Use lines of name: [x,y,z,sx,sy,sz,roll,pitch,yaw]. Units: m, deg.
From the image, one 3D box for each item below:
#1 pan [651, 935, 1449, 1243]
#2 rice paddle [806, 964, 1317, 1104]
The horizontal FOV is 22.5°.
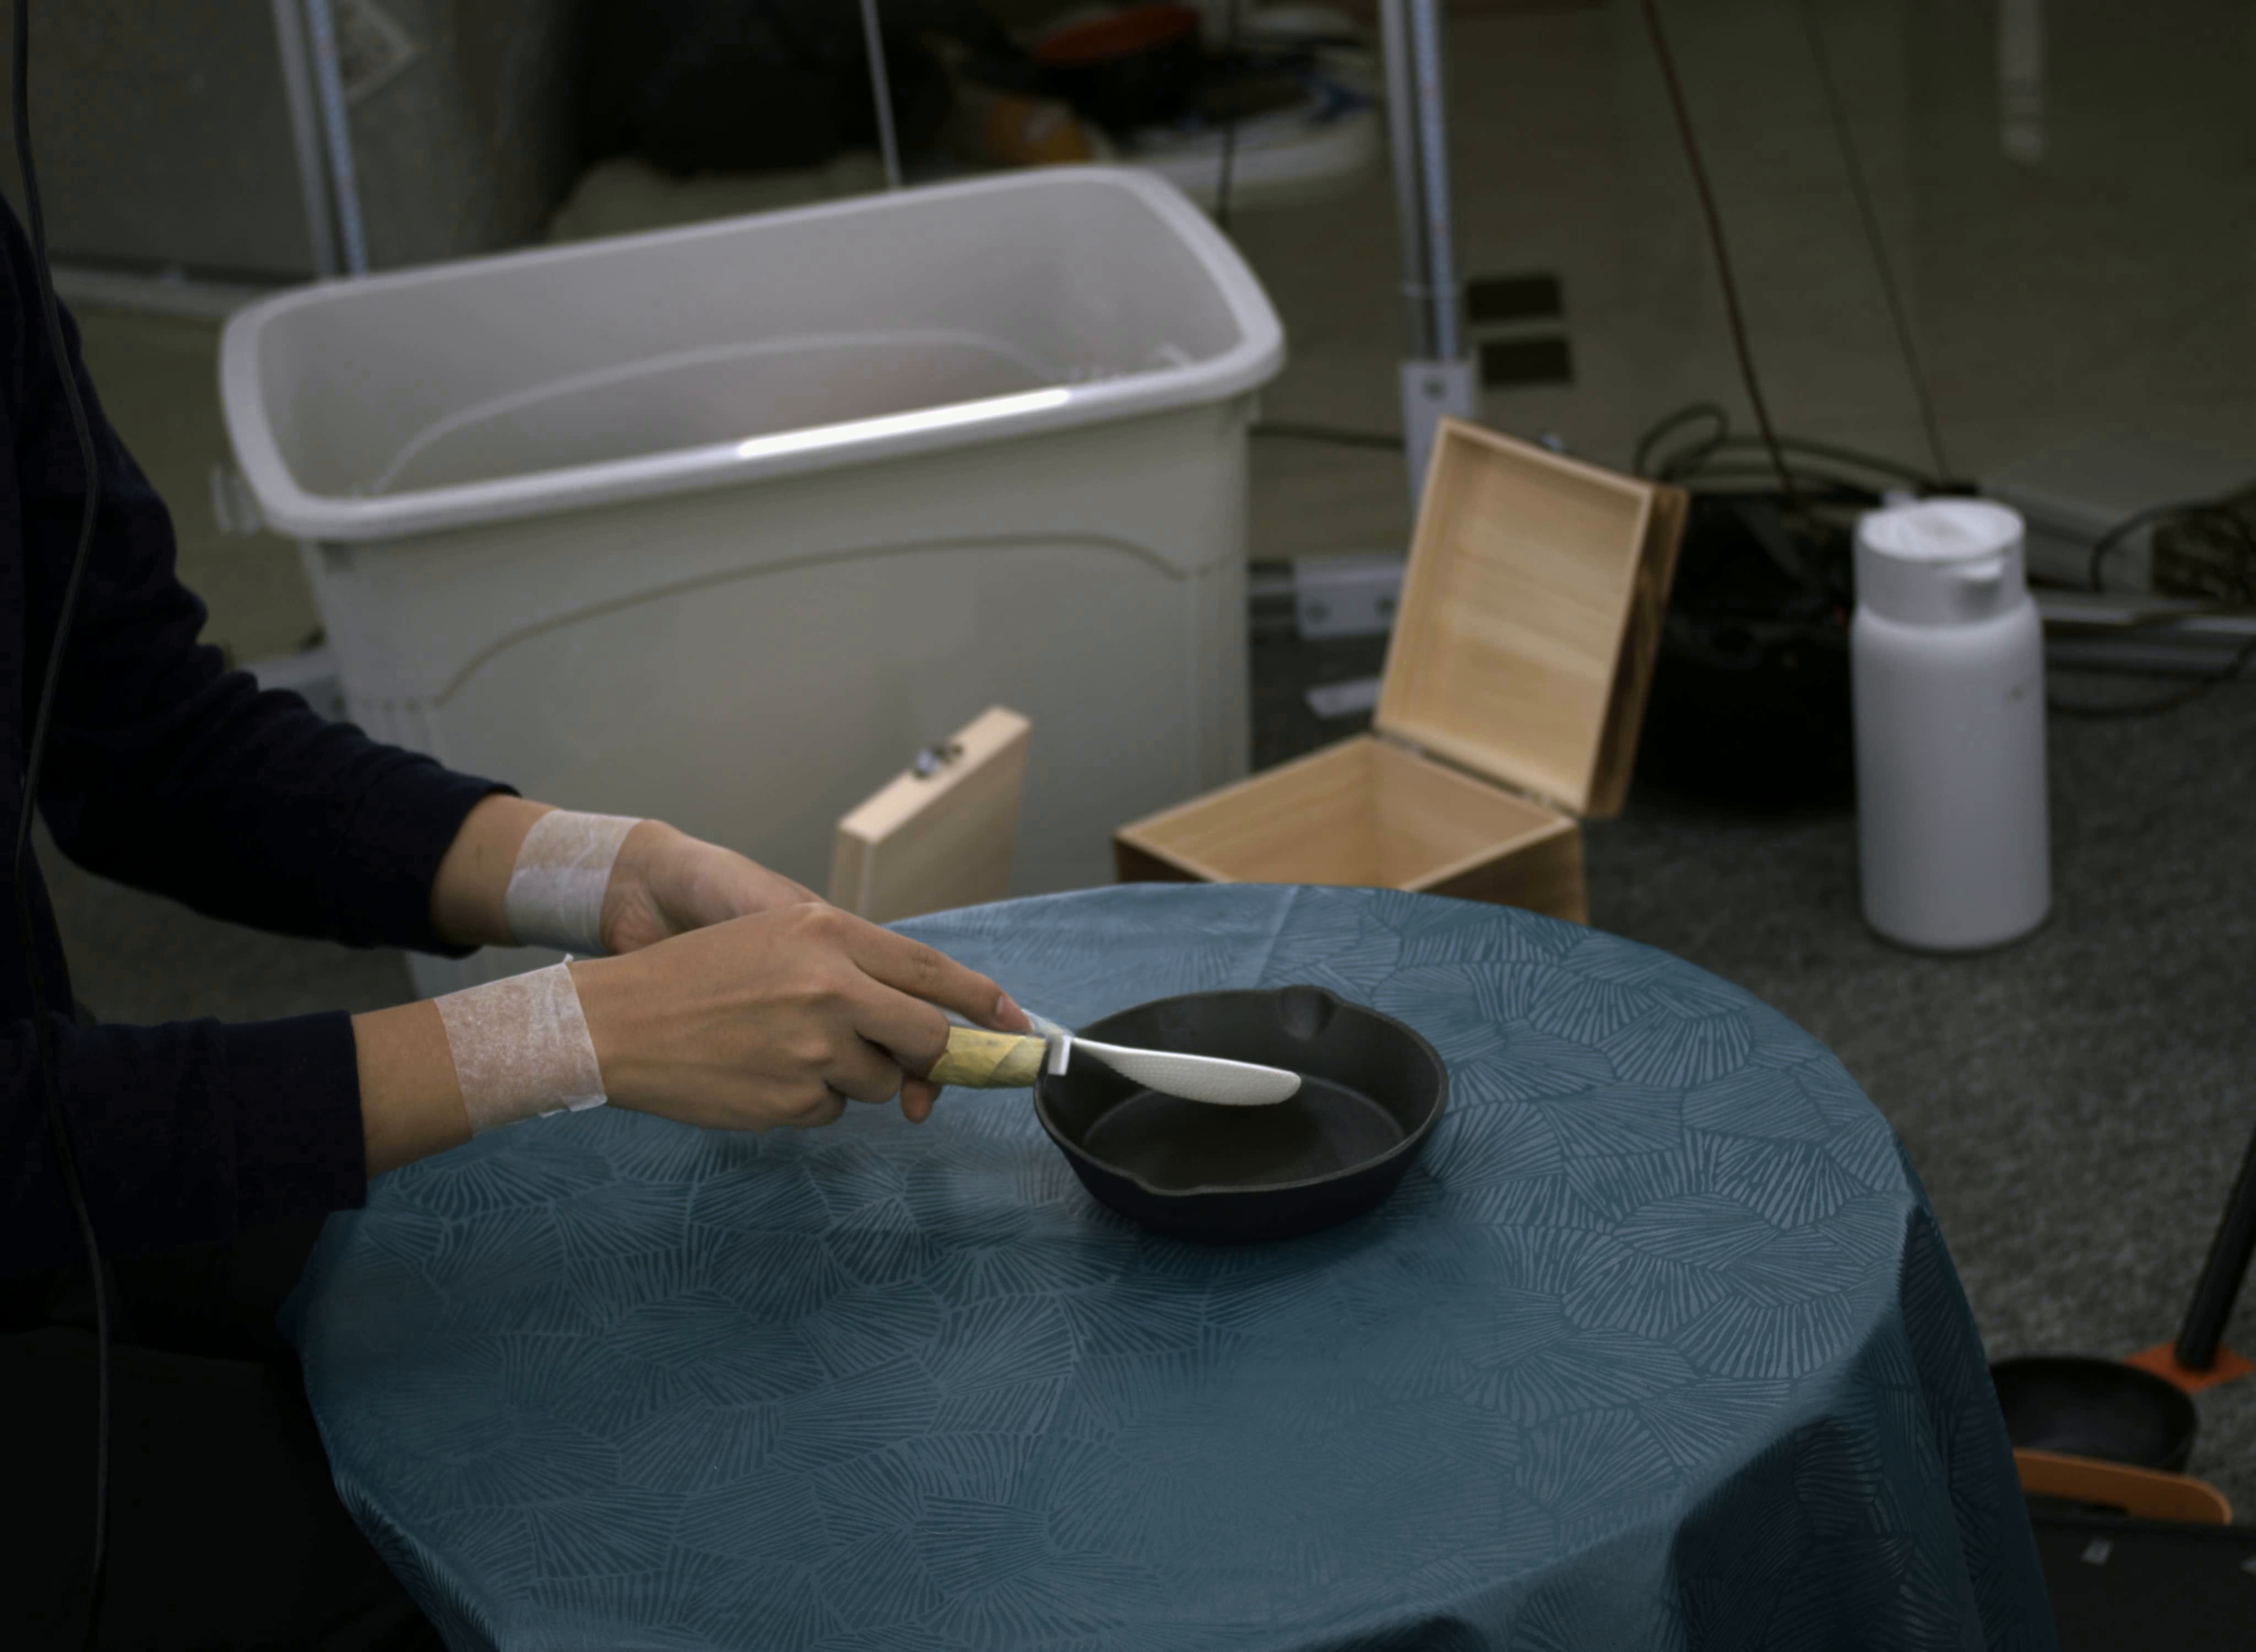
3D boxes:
pan: [-0.035,0.092,2.171,0.323,0.050,0.166,11,30,21]
rice paddle: [-0.022,0.081,2.135,0.205,0.029,0.068,10,-3,-24]
